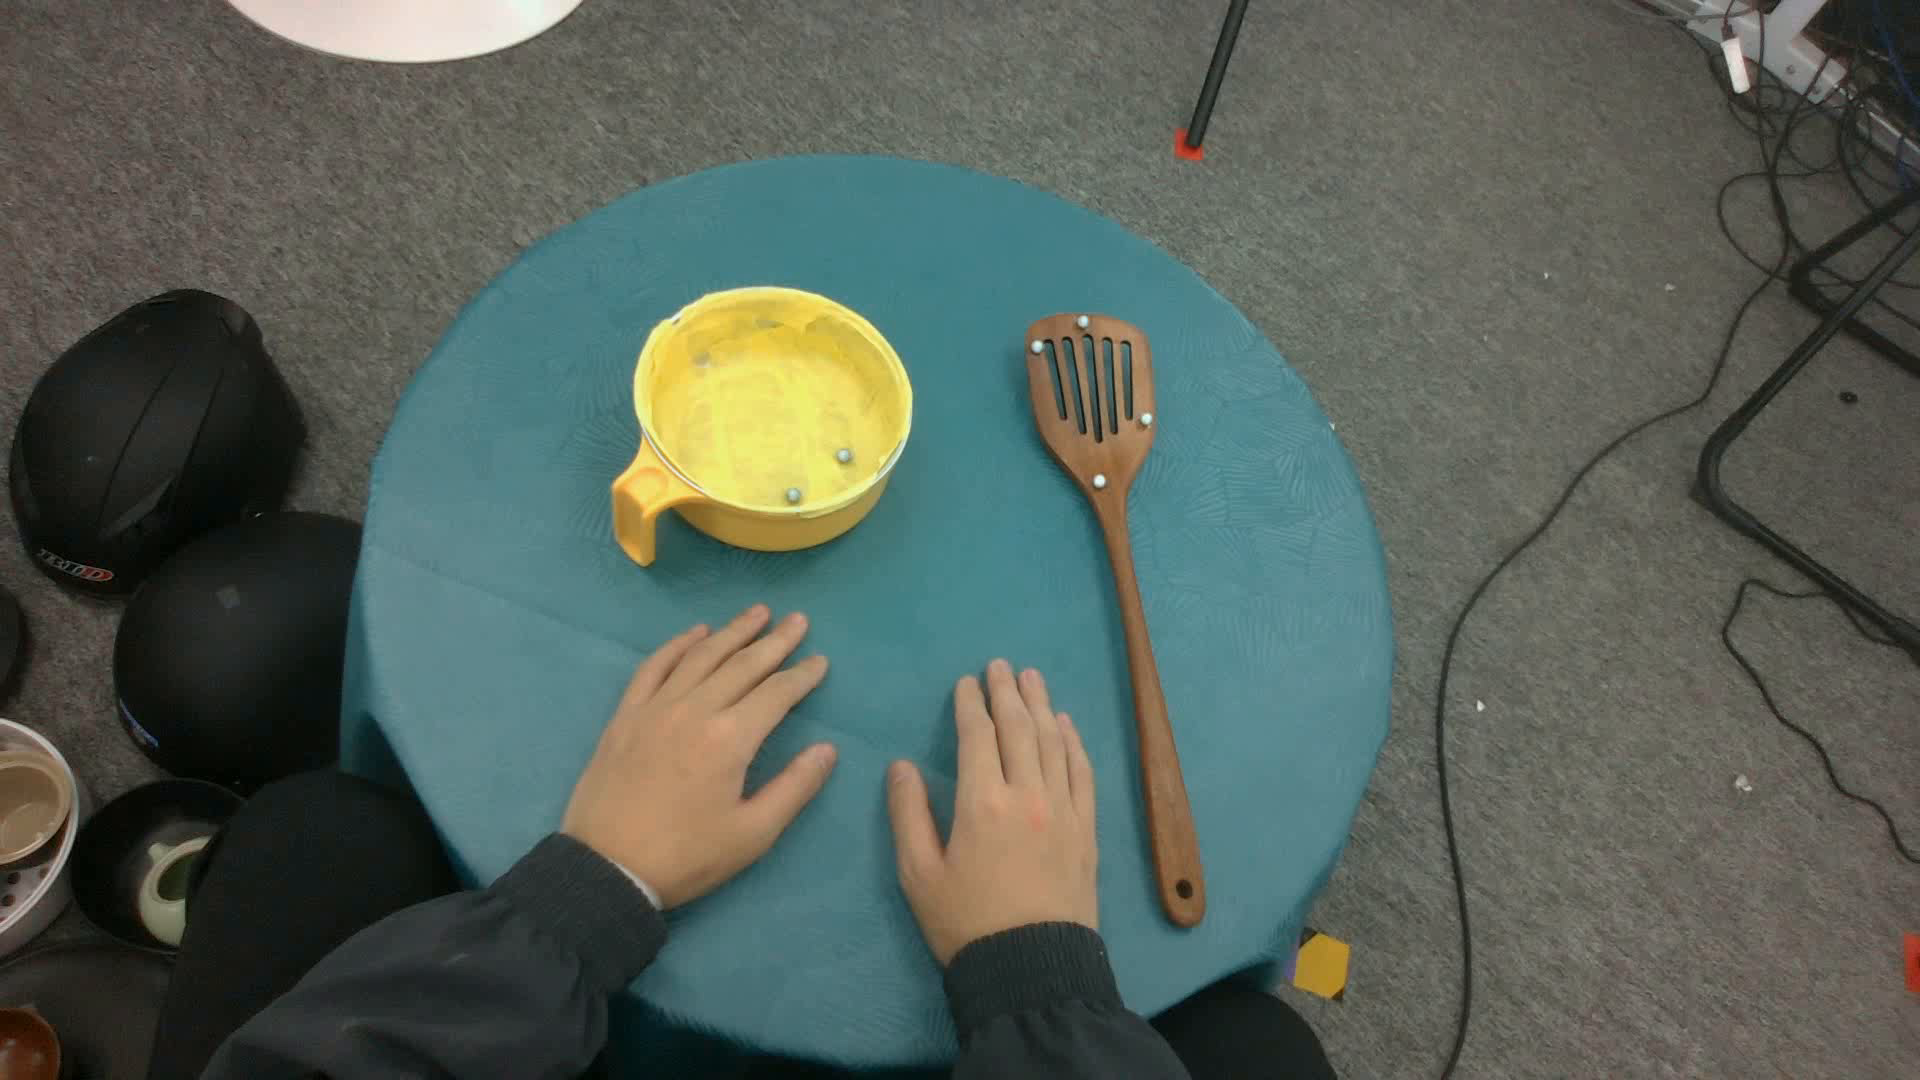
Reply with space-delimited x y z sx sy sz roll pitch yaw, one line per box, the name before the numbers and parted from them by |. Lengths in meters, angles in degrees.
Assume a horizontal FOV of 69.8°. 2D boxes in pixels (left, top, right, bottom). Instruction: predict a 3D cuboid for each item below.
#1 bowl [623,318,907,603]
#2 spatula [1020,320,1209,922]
bowl | -0.119 -0.043 0.795 0.153 0.074 0.180 35 59 13
spatula | 0.099 0.031 0.813 0.085 0.024 0.388 -2 61 -10
